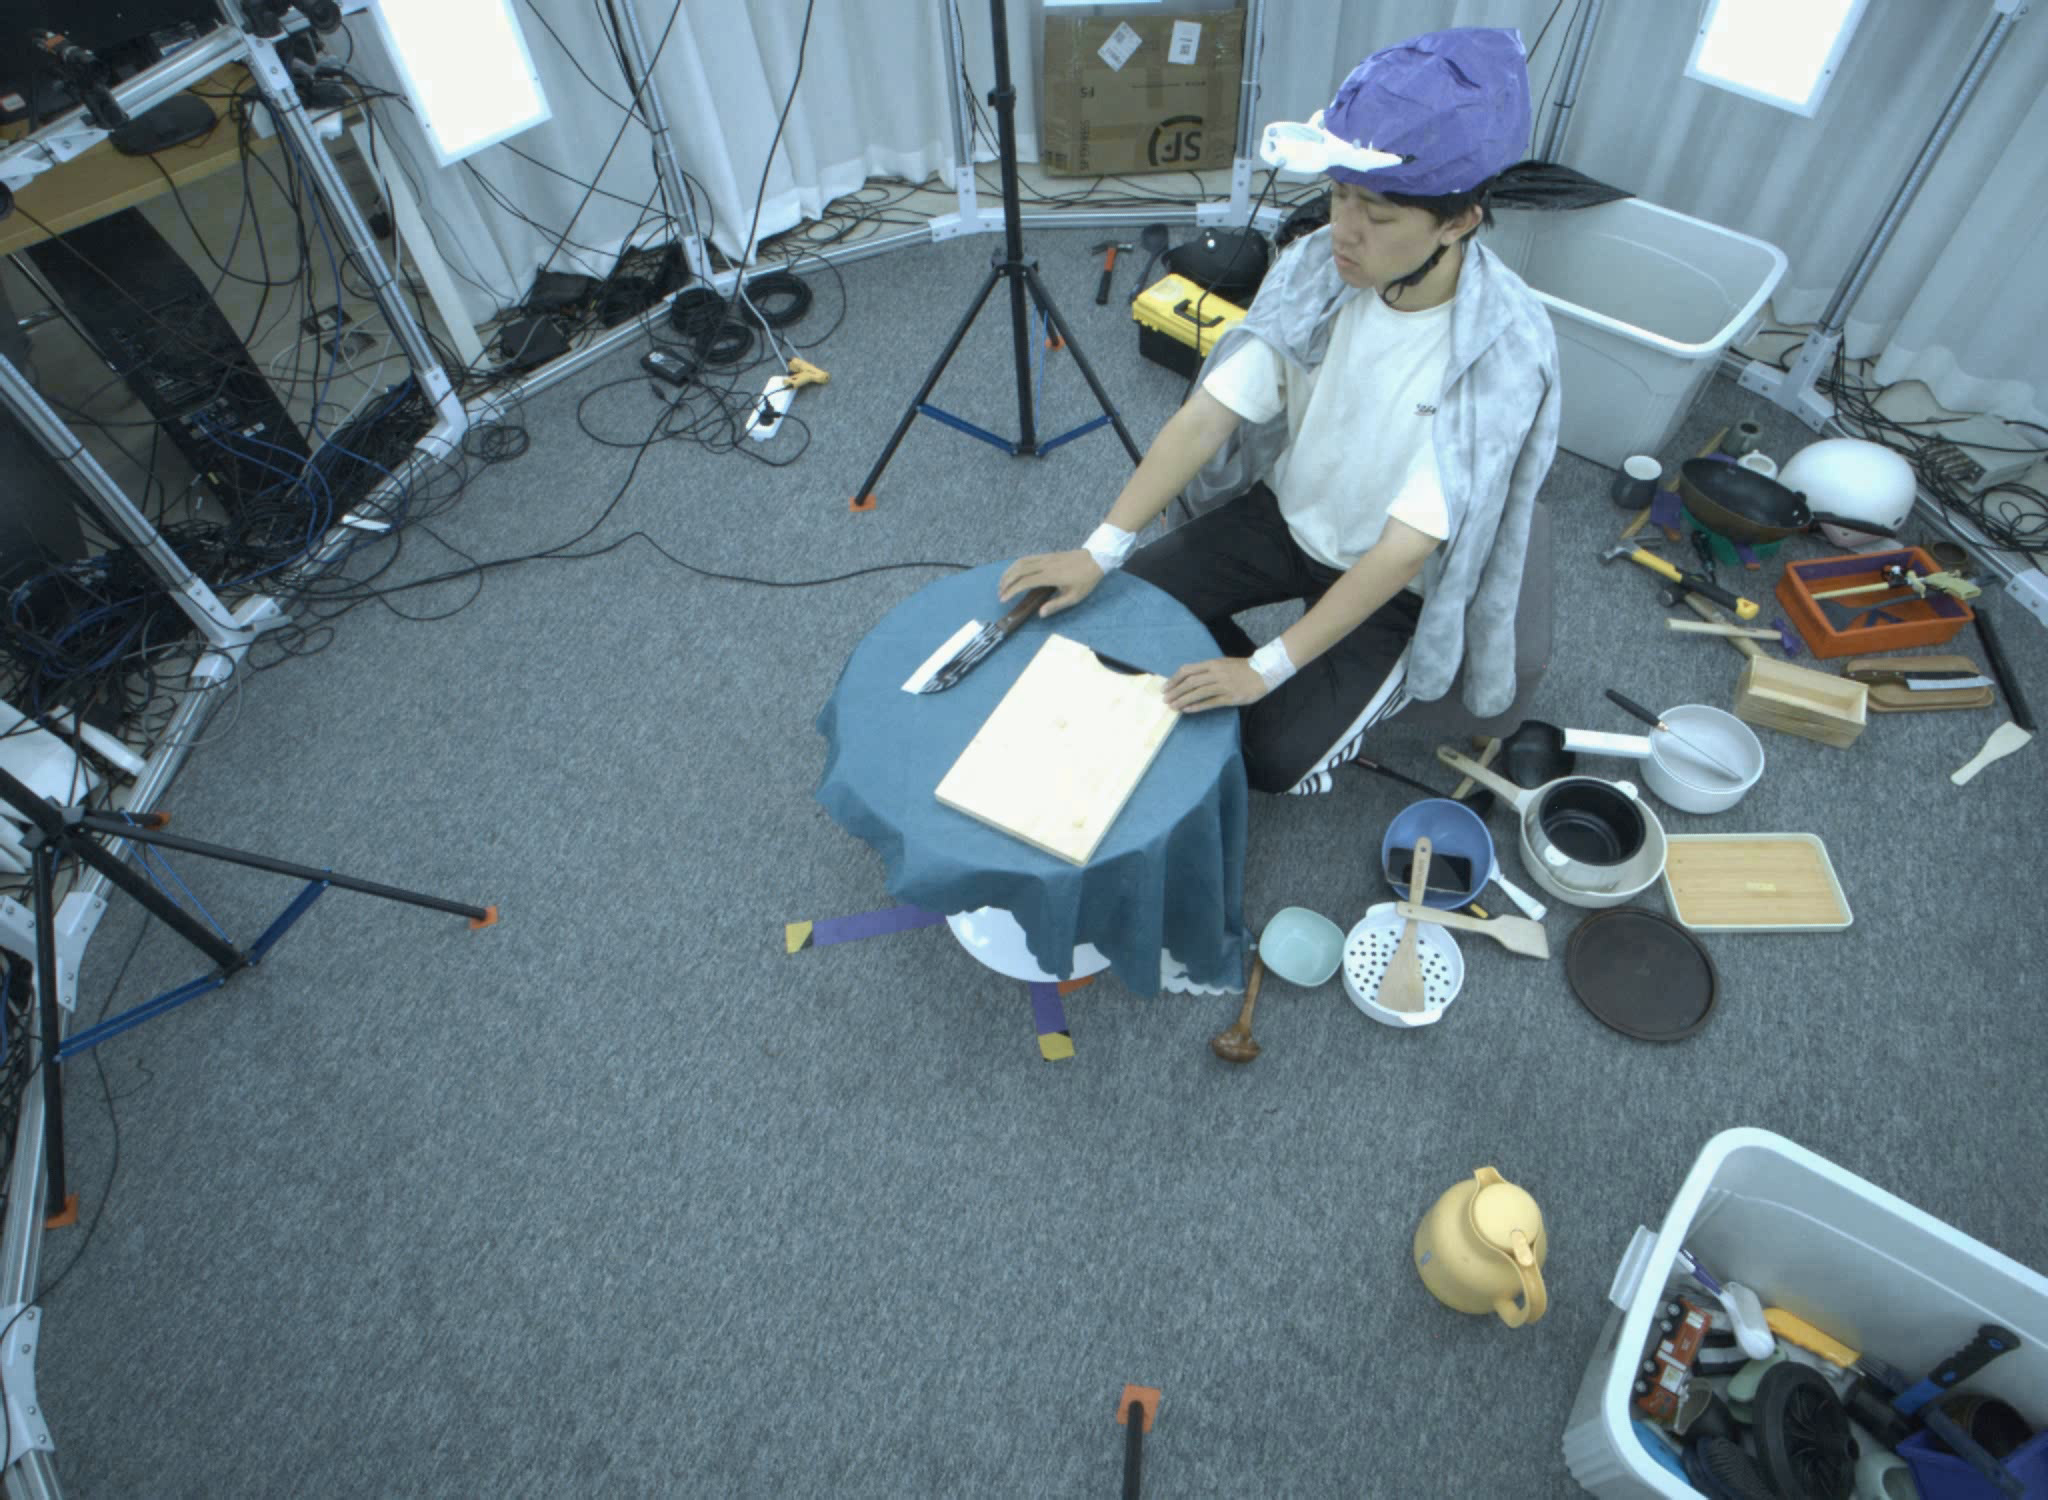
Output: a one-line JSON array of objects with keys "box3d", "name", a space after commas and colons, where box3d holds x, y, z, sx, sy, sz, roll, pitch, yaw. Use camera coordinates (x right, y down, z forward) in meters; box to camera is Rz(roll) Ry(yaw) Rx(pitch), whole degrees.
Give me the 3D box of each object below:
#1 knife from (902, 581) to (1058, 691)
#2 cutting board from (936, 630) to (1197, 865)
[{"box3d": [-0.067, -0.179, 1.906, 0.067, 0.024, 0.301, 36, 66, 27], "name": "knife"}, {"box3d": [0.065, -0.014, 1.788, 0.247, 0.024, 0.349, 24, 59, 17], "name": "cutting board"}]
